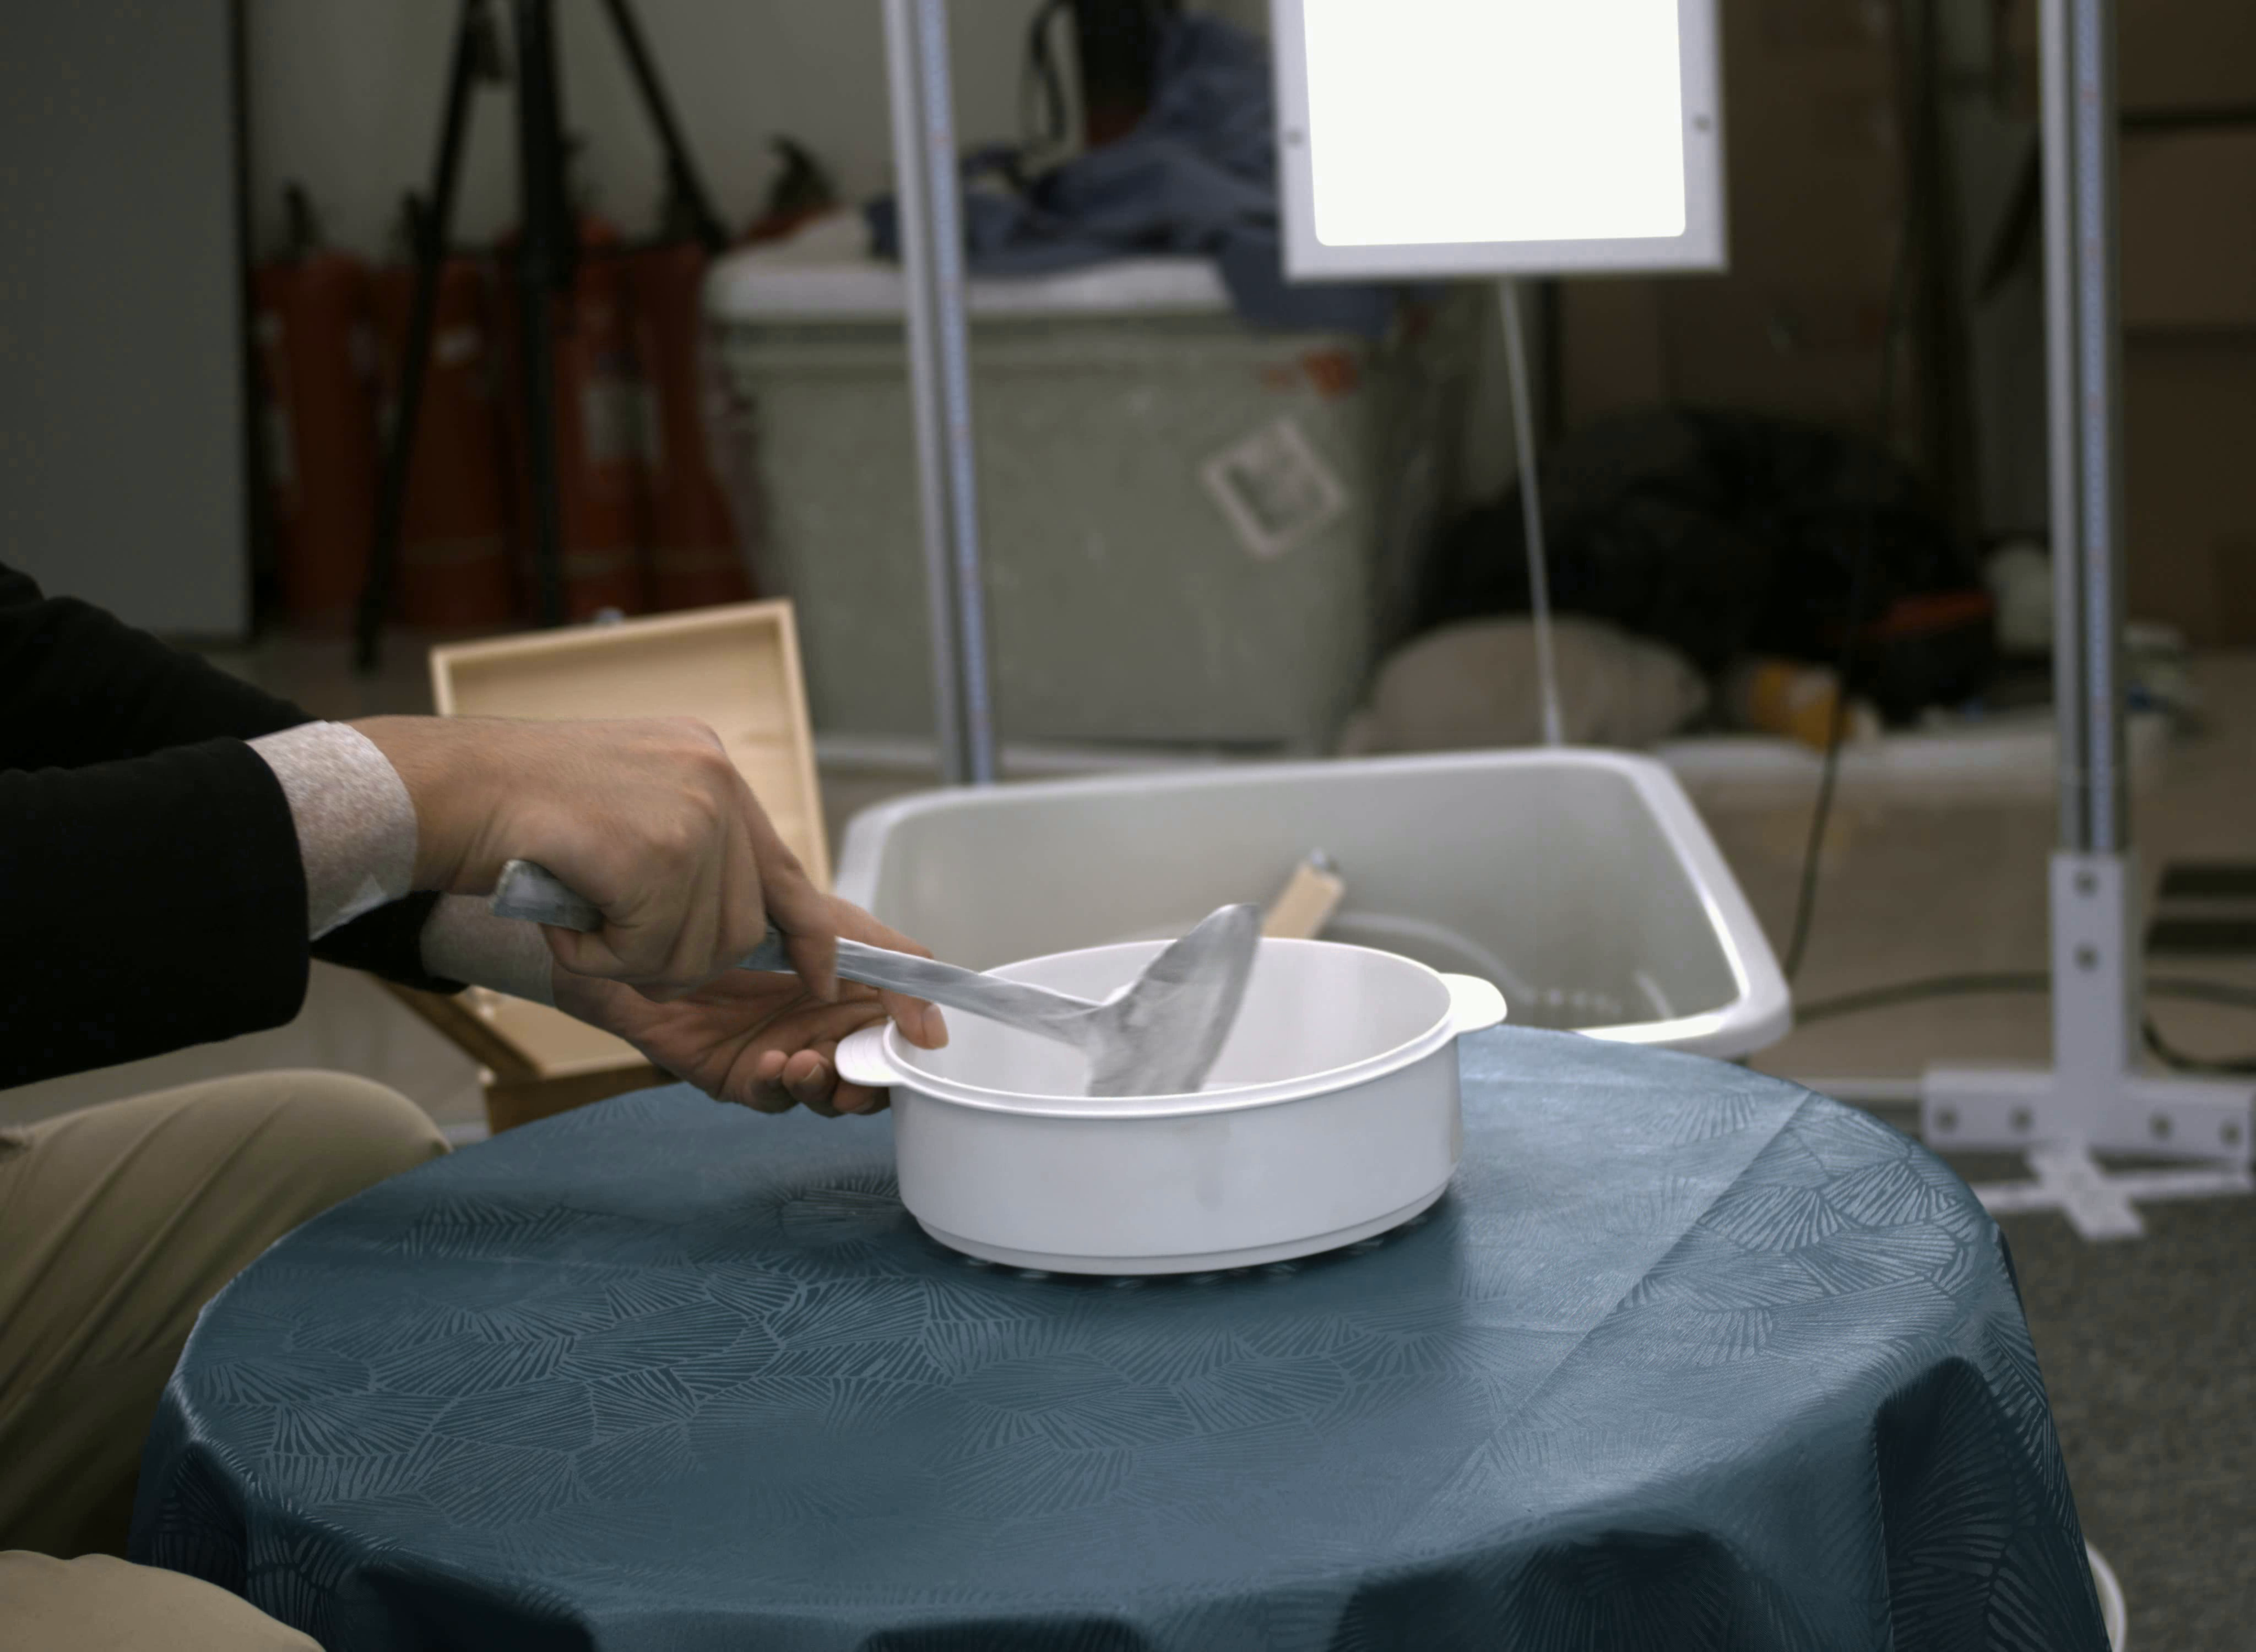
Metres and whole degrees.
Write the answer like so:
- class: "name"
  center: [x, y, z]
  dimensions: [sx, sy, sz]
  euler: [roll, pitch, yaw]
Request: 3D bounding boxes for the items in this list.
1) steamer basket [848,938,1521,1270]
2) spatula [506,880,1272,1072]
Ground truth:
- class: "steamer basket"
  center: [0.022, 0.095, 1.874]
  dimensions: [0.230, 0.069, 0.202]
  euler: [-6, 13, 0]
- class: "spatula"
  center: [-0.071, 0.049, 1.779]
  dimensions: [0.356, 0.099, 0.045]
  euler: [15, 15, -44]
